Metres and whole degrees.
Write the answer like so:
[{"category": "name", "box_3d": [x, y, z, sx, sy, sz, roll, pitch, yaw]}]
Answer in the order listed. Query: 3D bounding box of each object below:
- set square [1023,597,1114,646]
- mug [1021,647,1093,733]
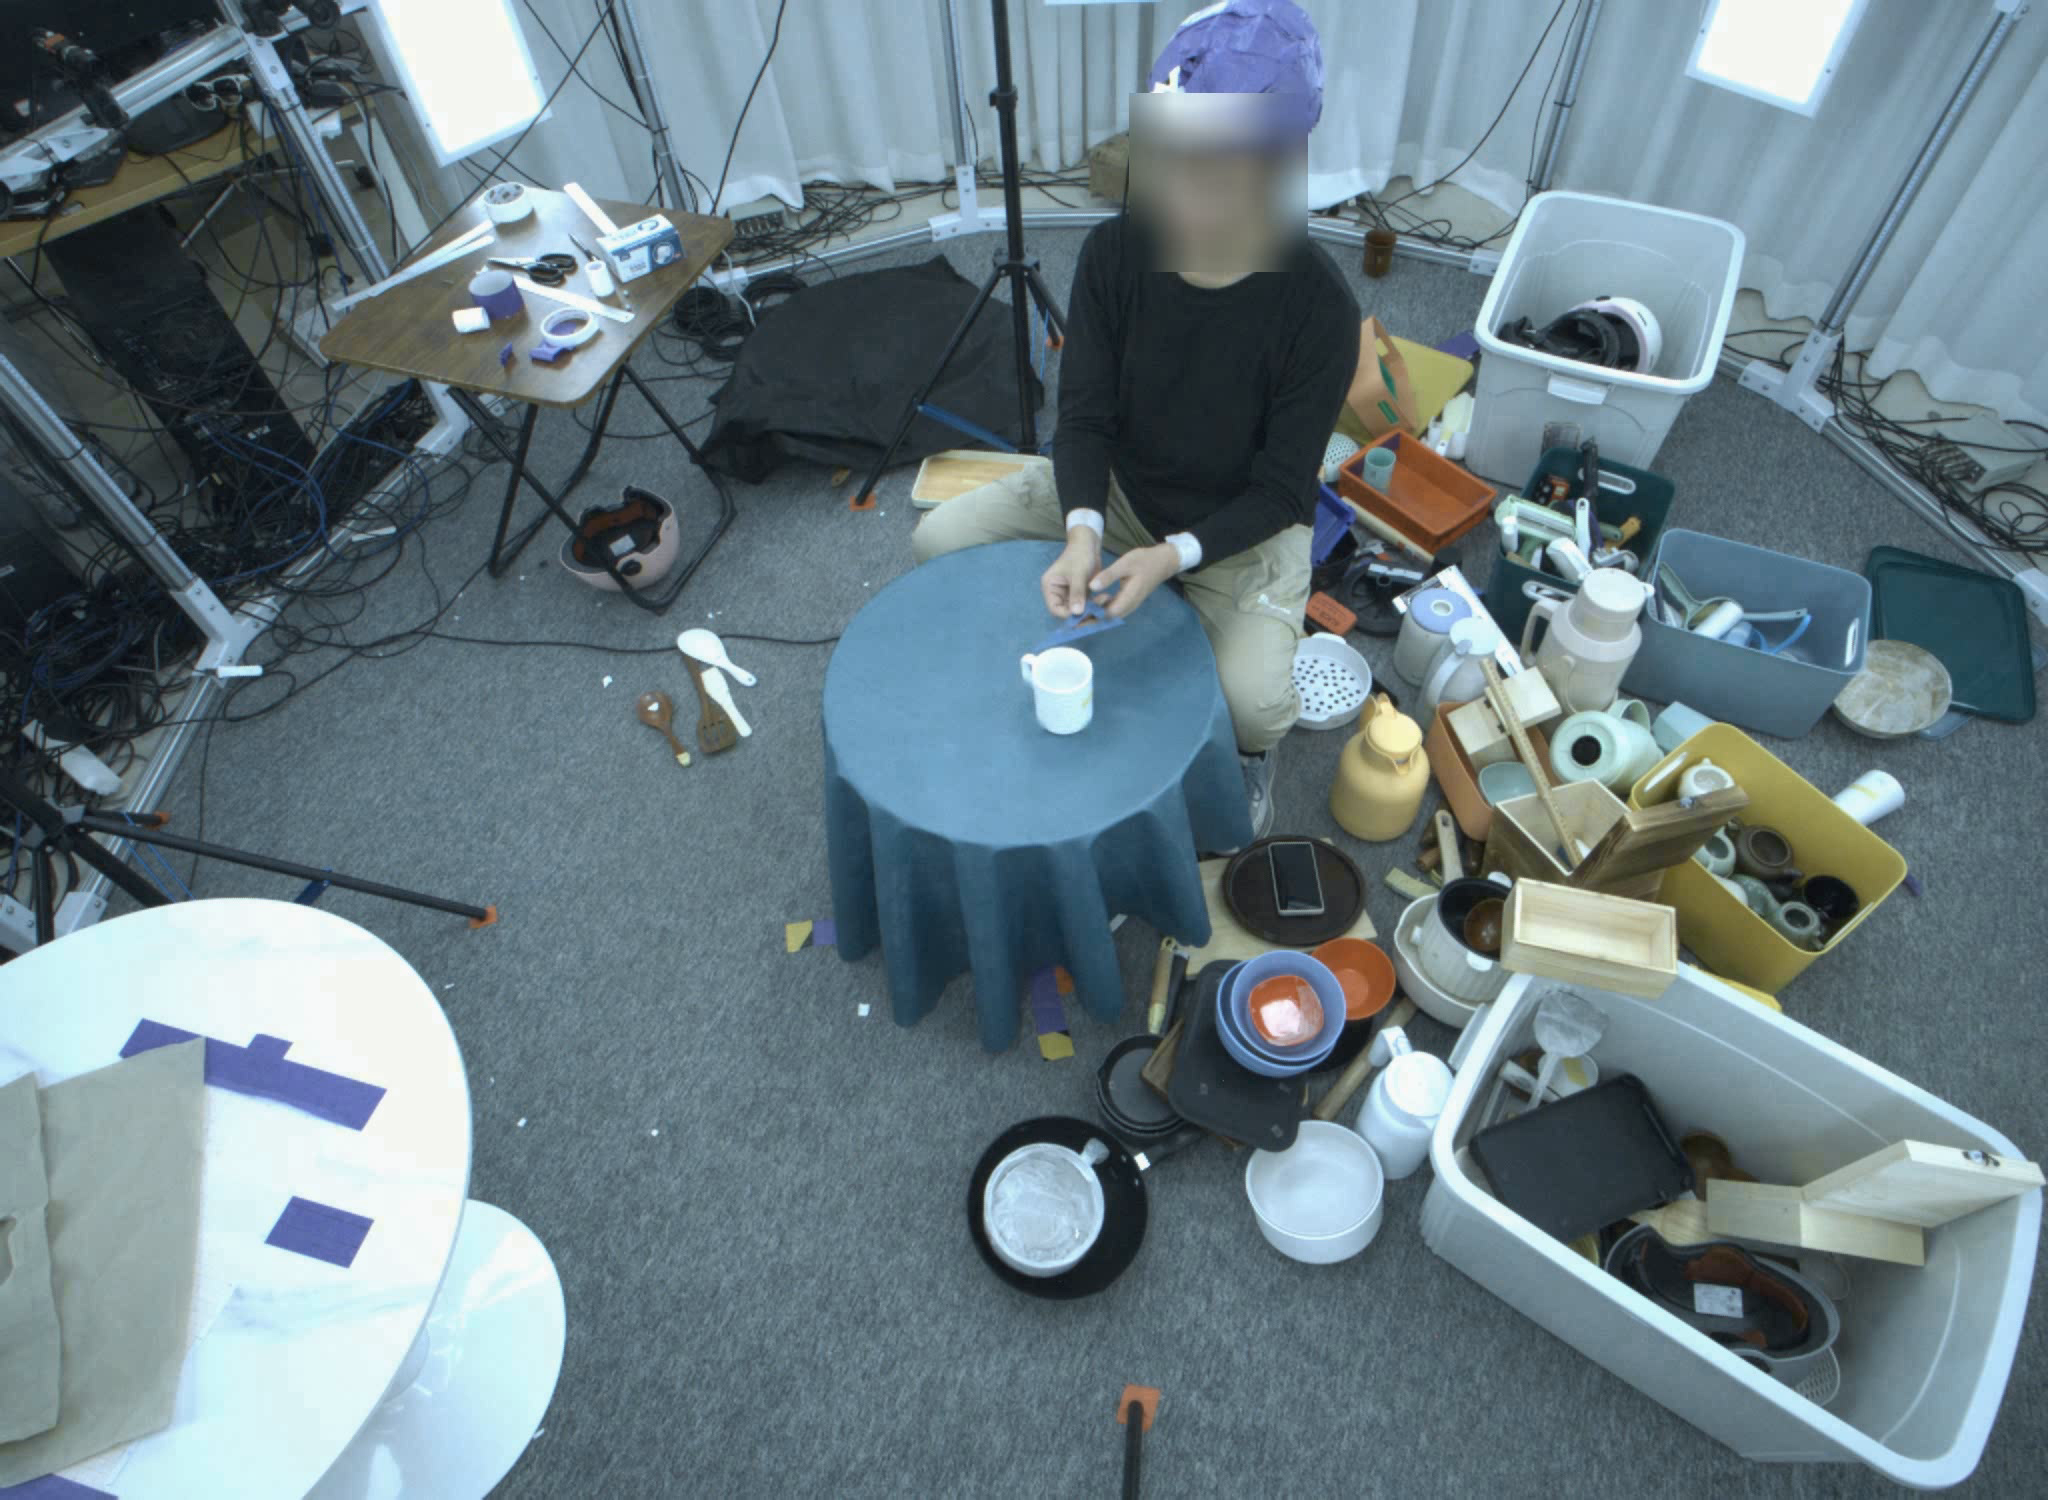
[{"category": "set square", "box_3d": [0.058, -0.187, 1.756, 0.132, 0.006, 0.060, -15, 59, -2]}, {"category": "mug", "box_3d": [0.045, -0.093, 1.789, 0.116, 0.103, 0.085, 33, 63, 23]}]
